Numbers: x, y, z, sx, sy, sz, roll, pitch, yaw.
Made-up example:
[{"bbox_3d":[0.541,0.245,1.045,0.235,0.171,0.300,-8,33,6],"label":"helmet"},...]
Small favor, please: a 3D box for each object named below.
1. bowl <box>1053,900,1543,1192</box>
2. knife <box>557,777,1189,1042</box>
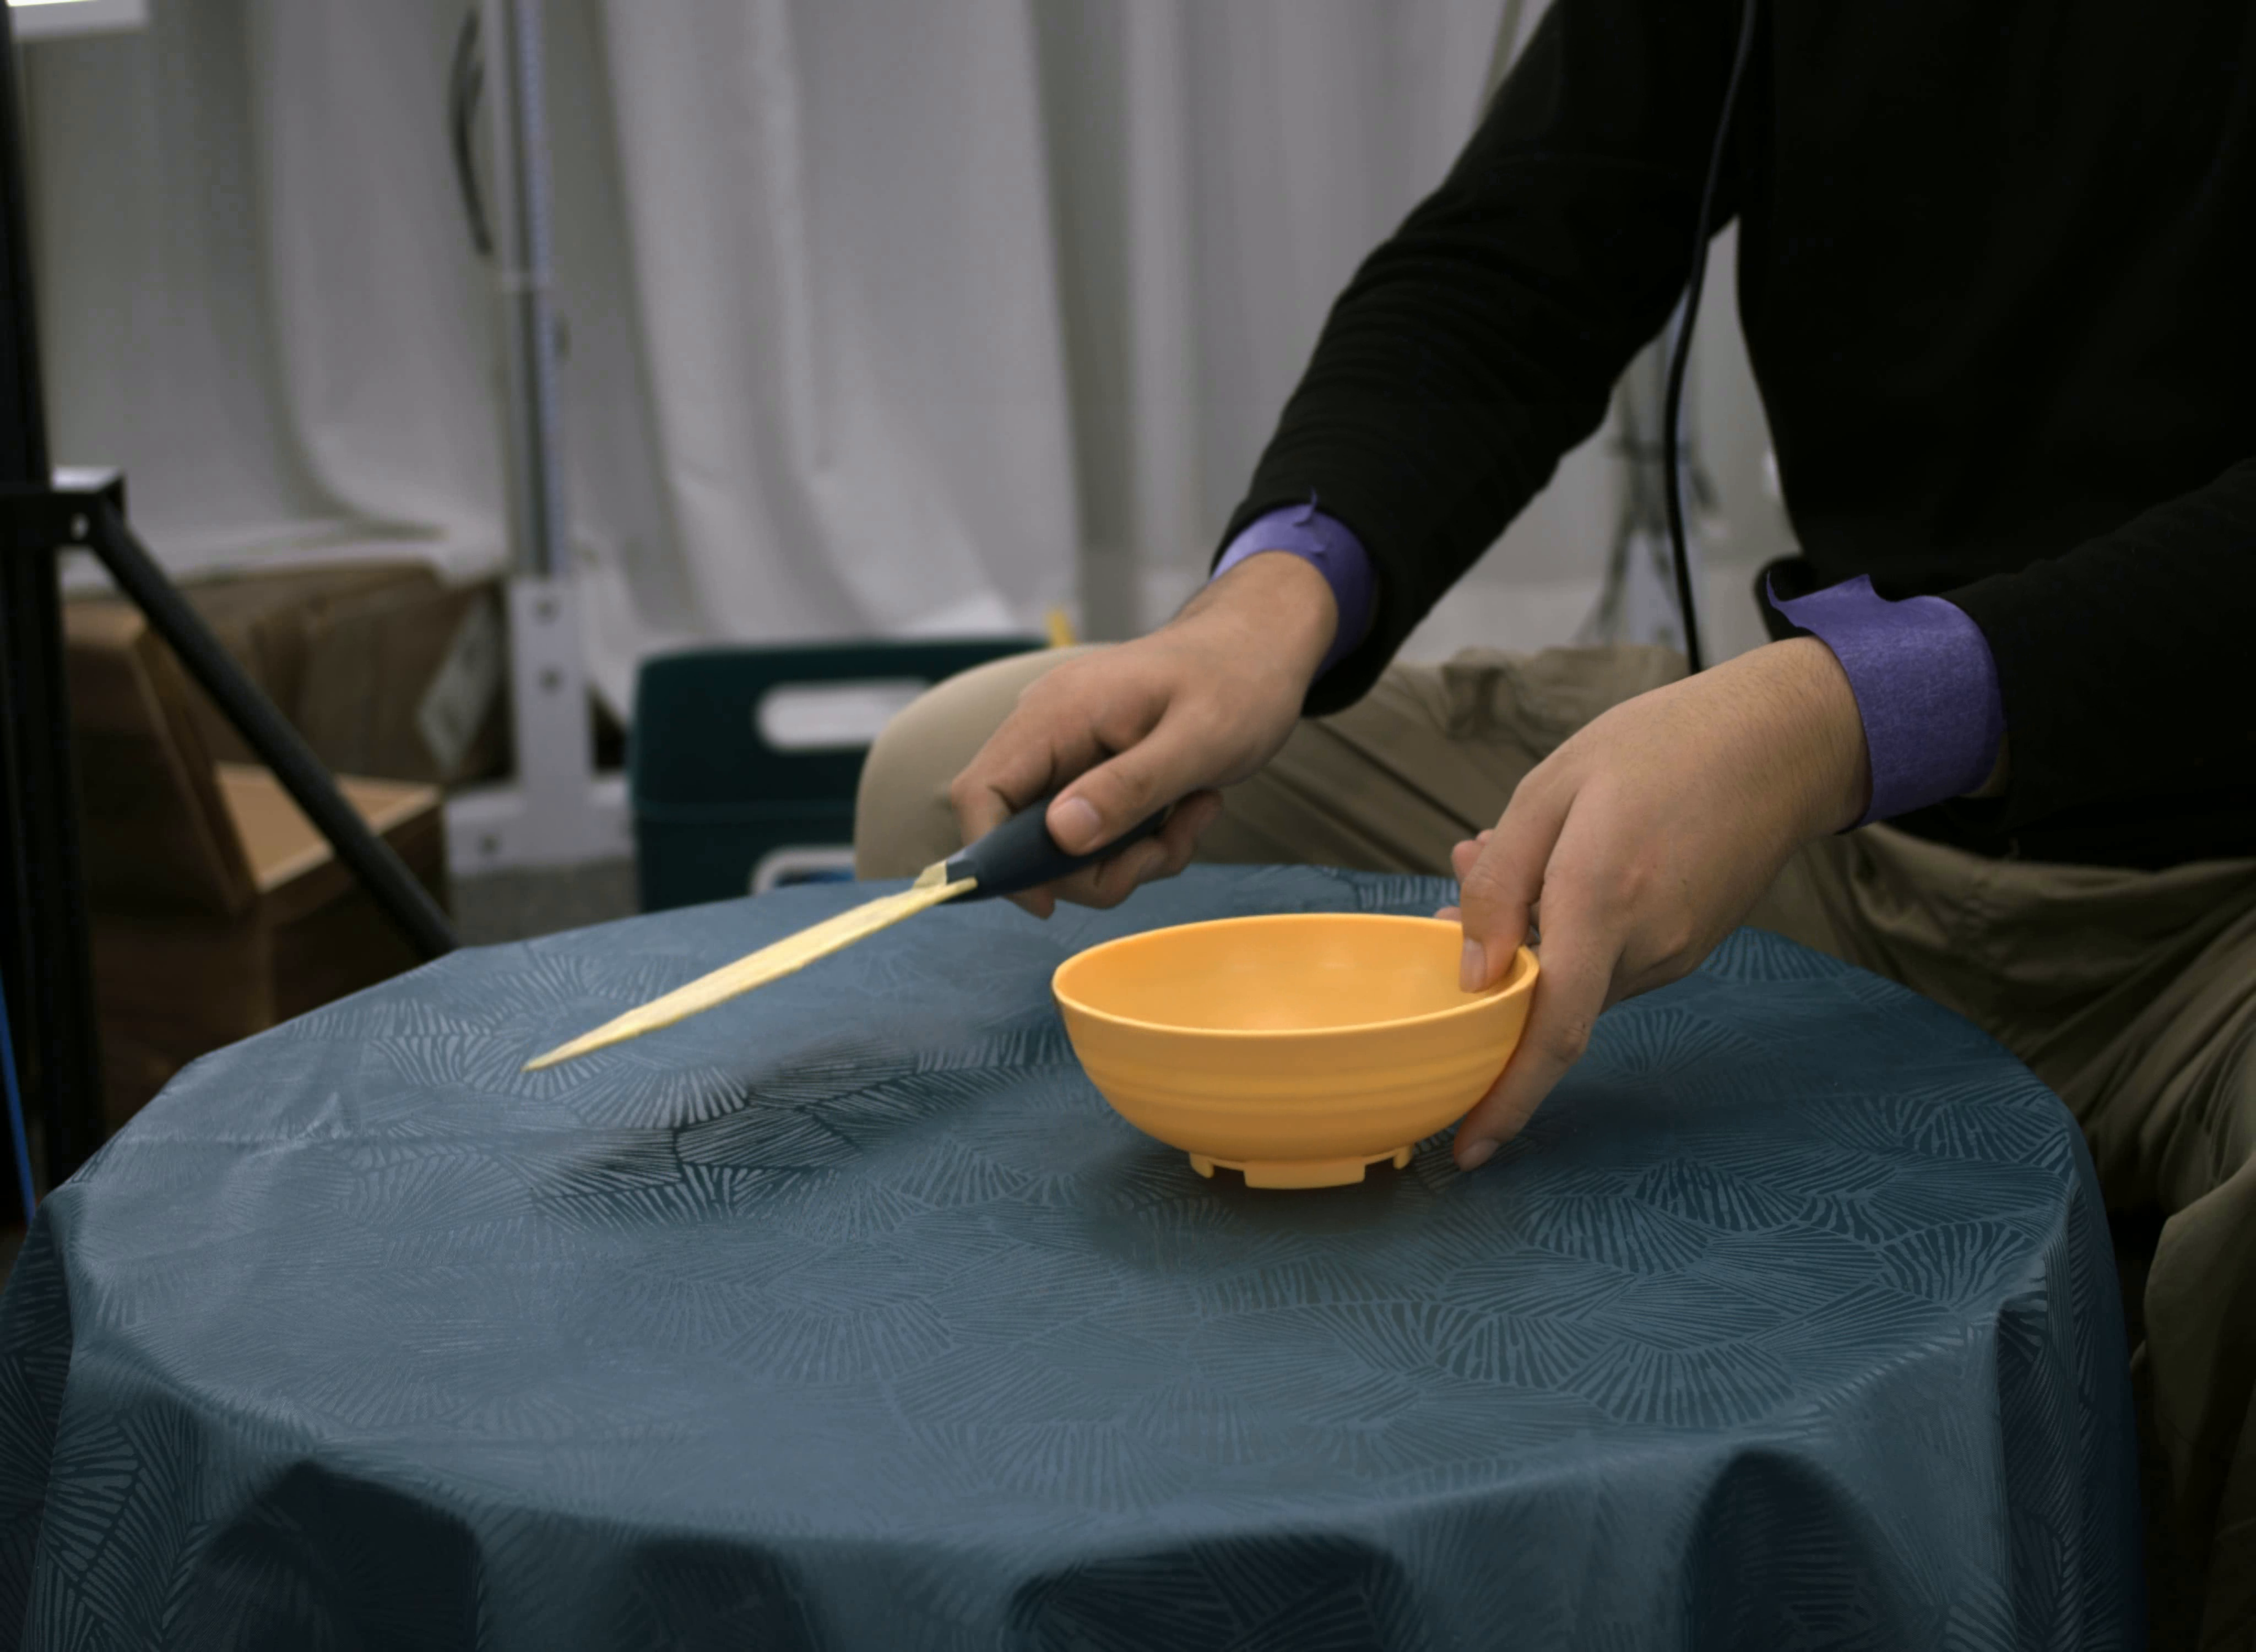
[{"bbox_3d":[0.050,0.070,1.567,0.144,0.060,0.146,-2,14,-1],"label":"bowl"},{"bbox_3d":[-0.077,0.028,1.678,0.082,0.027,0.283,-13,6,41],"label":"knife"}]
